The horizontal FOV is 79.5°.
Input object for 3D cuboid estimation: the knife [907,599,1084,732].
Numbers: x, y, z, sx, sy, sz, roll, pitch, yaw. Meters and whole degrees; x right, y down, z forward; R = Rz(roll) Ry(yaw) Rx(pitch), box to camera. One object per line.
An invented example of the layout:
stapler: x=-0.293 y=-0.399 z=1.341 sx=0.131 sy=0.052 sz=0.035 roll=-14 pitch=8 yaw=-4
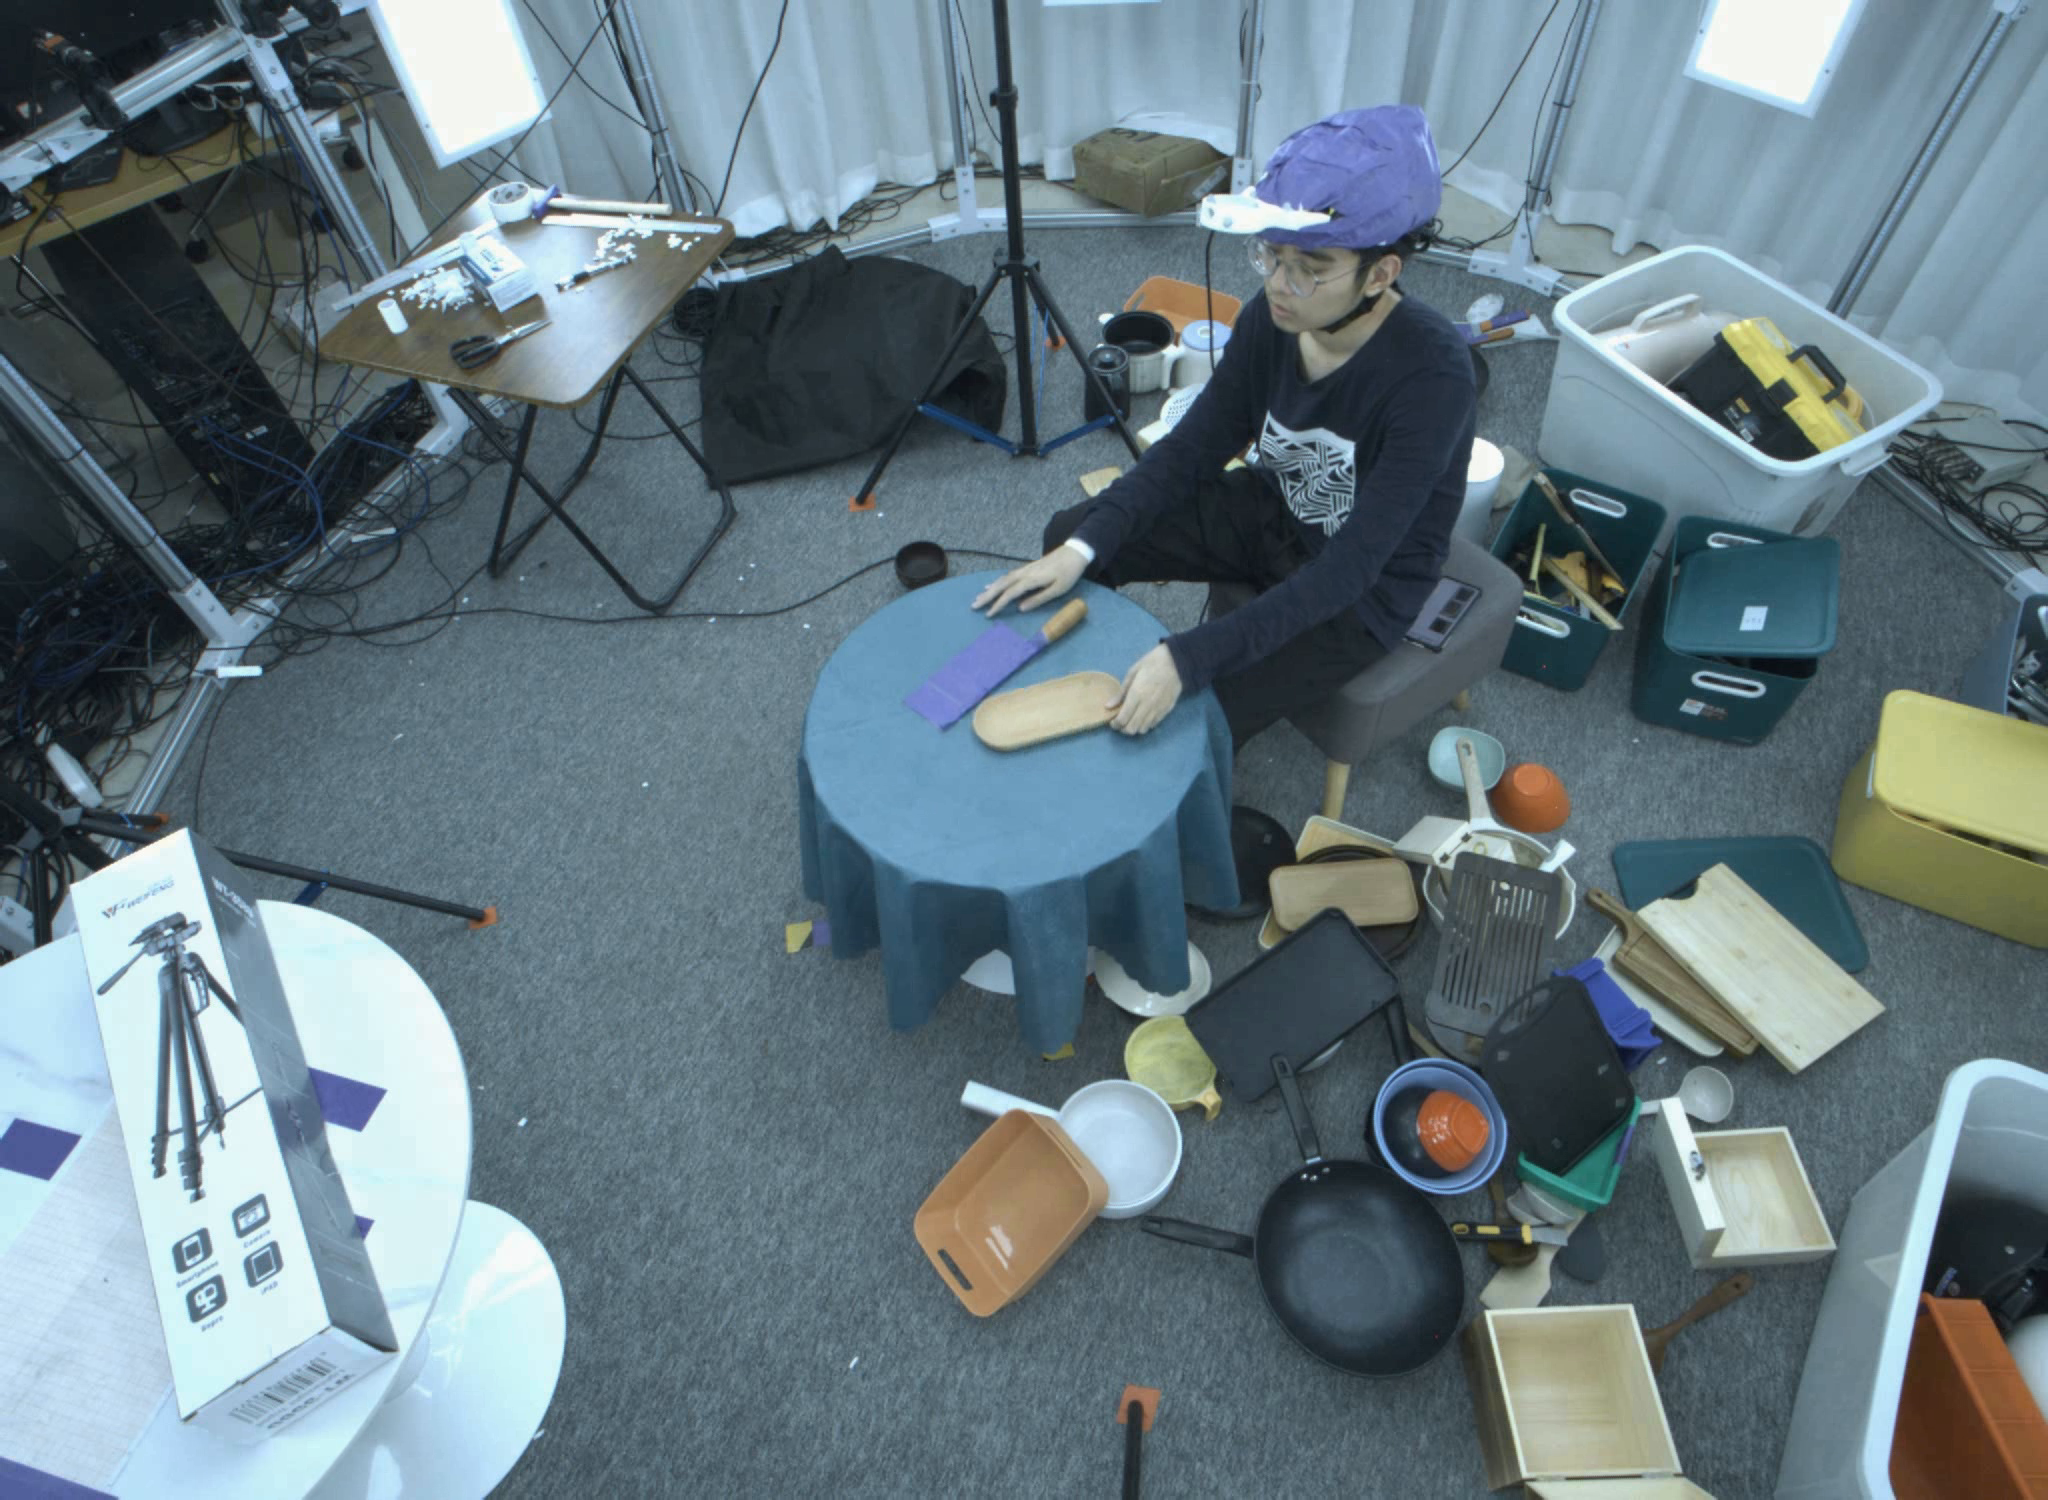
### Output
knife: x=-0.044 y=-0.149 z=1.887 sx=0.102 sy=0.032 sz=0.317 roll=38 pitch=64 yaw=24

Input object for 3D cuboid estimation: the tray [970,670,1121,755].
tray: x=0.033 y=-0.056 z=1.824 sx=0.232 sy=0.020 sz=0.100 roll=-19 pitch=54 yaw=-11
